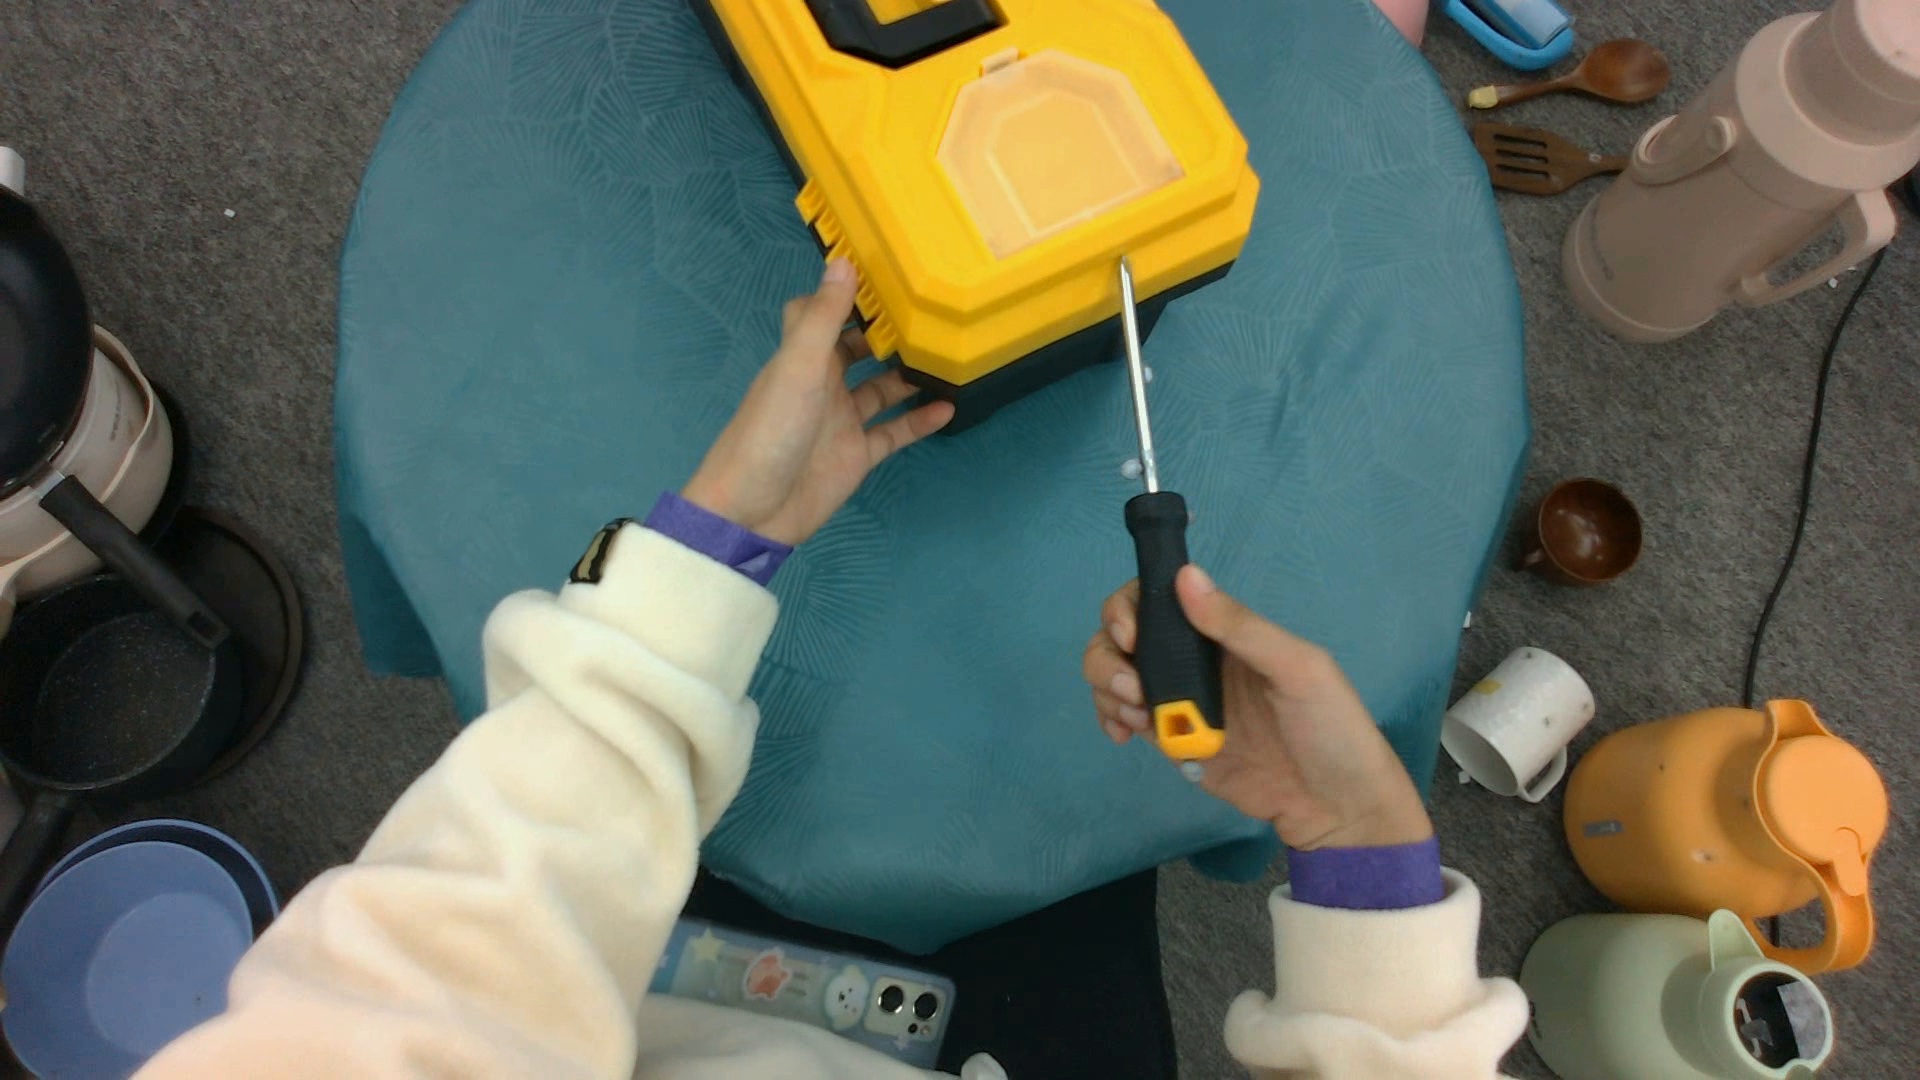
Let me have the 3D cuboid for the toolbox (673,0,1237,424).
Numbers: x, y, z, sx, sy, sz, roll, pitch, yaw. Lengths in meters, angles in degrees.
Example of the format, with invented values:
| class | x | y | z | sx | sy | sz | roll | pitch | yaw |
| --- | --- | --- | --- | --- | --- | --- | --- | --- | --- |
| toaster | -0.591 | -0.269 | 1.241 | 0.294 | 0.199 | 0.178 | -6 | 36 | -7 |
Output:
| class | x | y | z | sx | sy | sz | roll | pitch | yaw |
| --- | --- | --- | --- | --- | --- | --- | --- | --- | --- |
| toolbox | -0.033 | -0.238 | 0.640 | 0.181 | 0.172 | 0.352 | -26 | 78 | -11 |

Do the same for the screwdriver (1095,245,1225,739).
| class | x | y | z | sx | sy | sz | roll | pitch | yaw |
| --- | --- | --- | --- | --- | --- | --- | --- | --- | --- |
| screwdriver | 0.070 | -0.022 | 0.520 | 0.031 | 0.031 | 0.197 | -6 | 70 | -6 |
